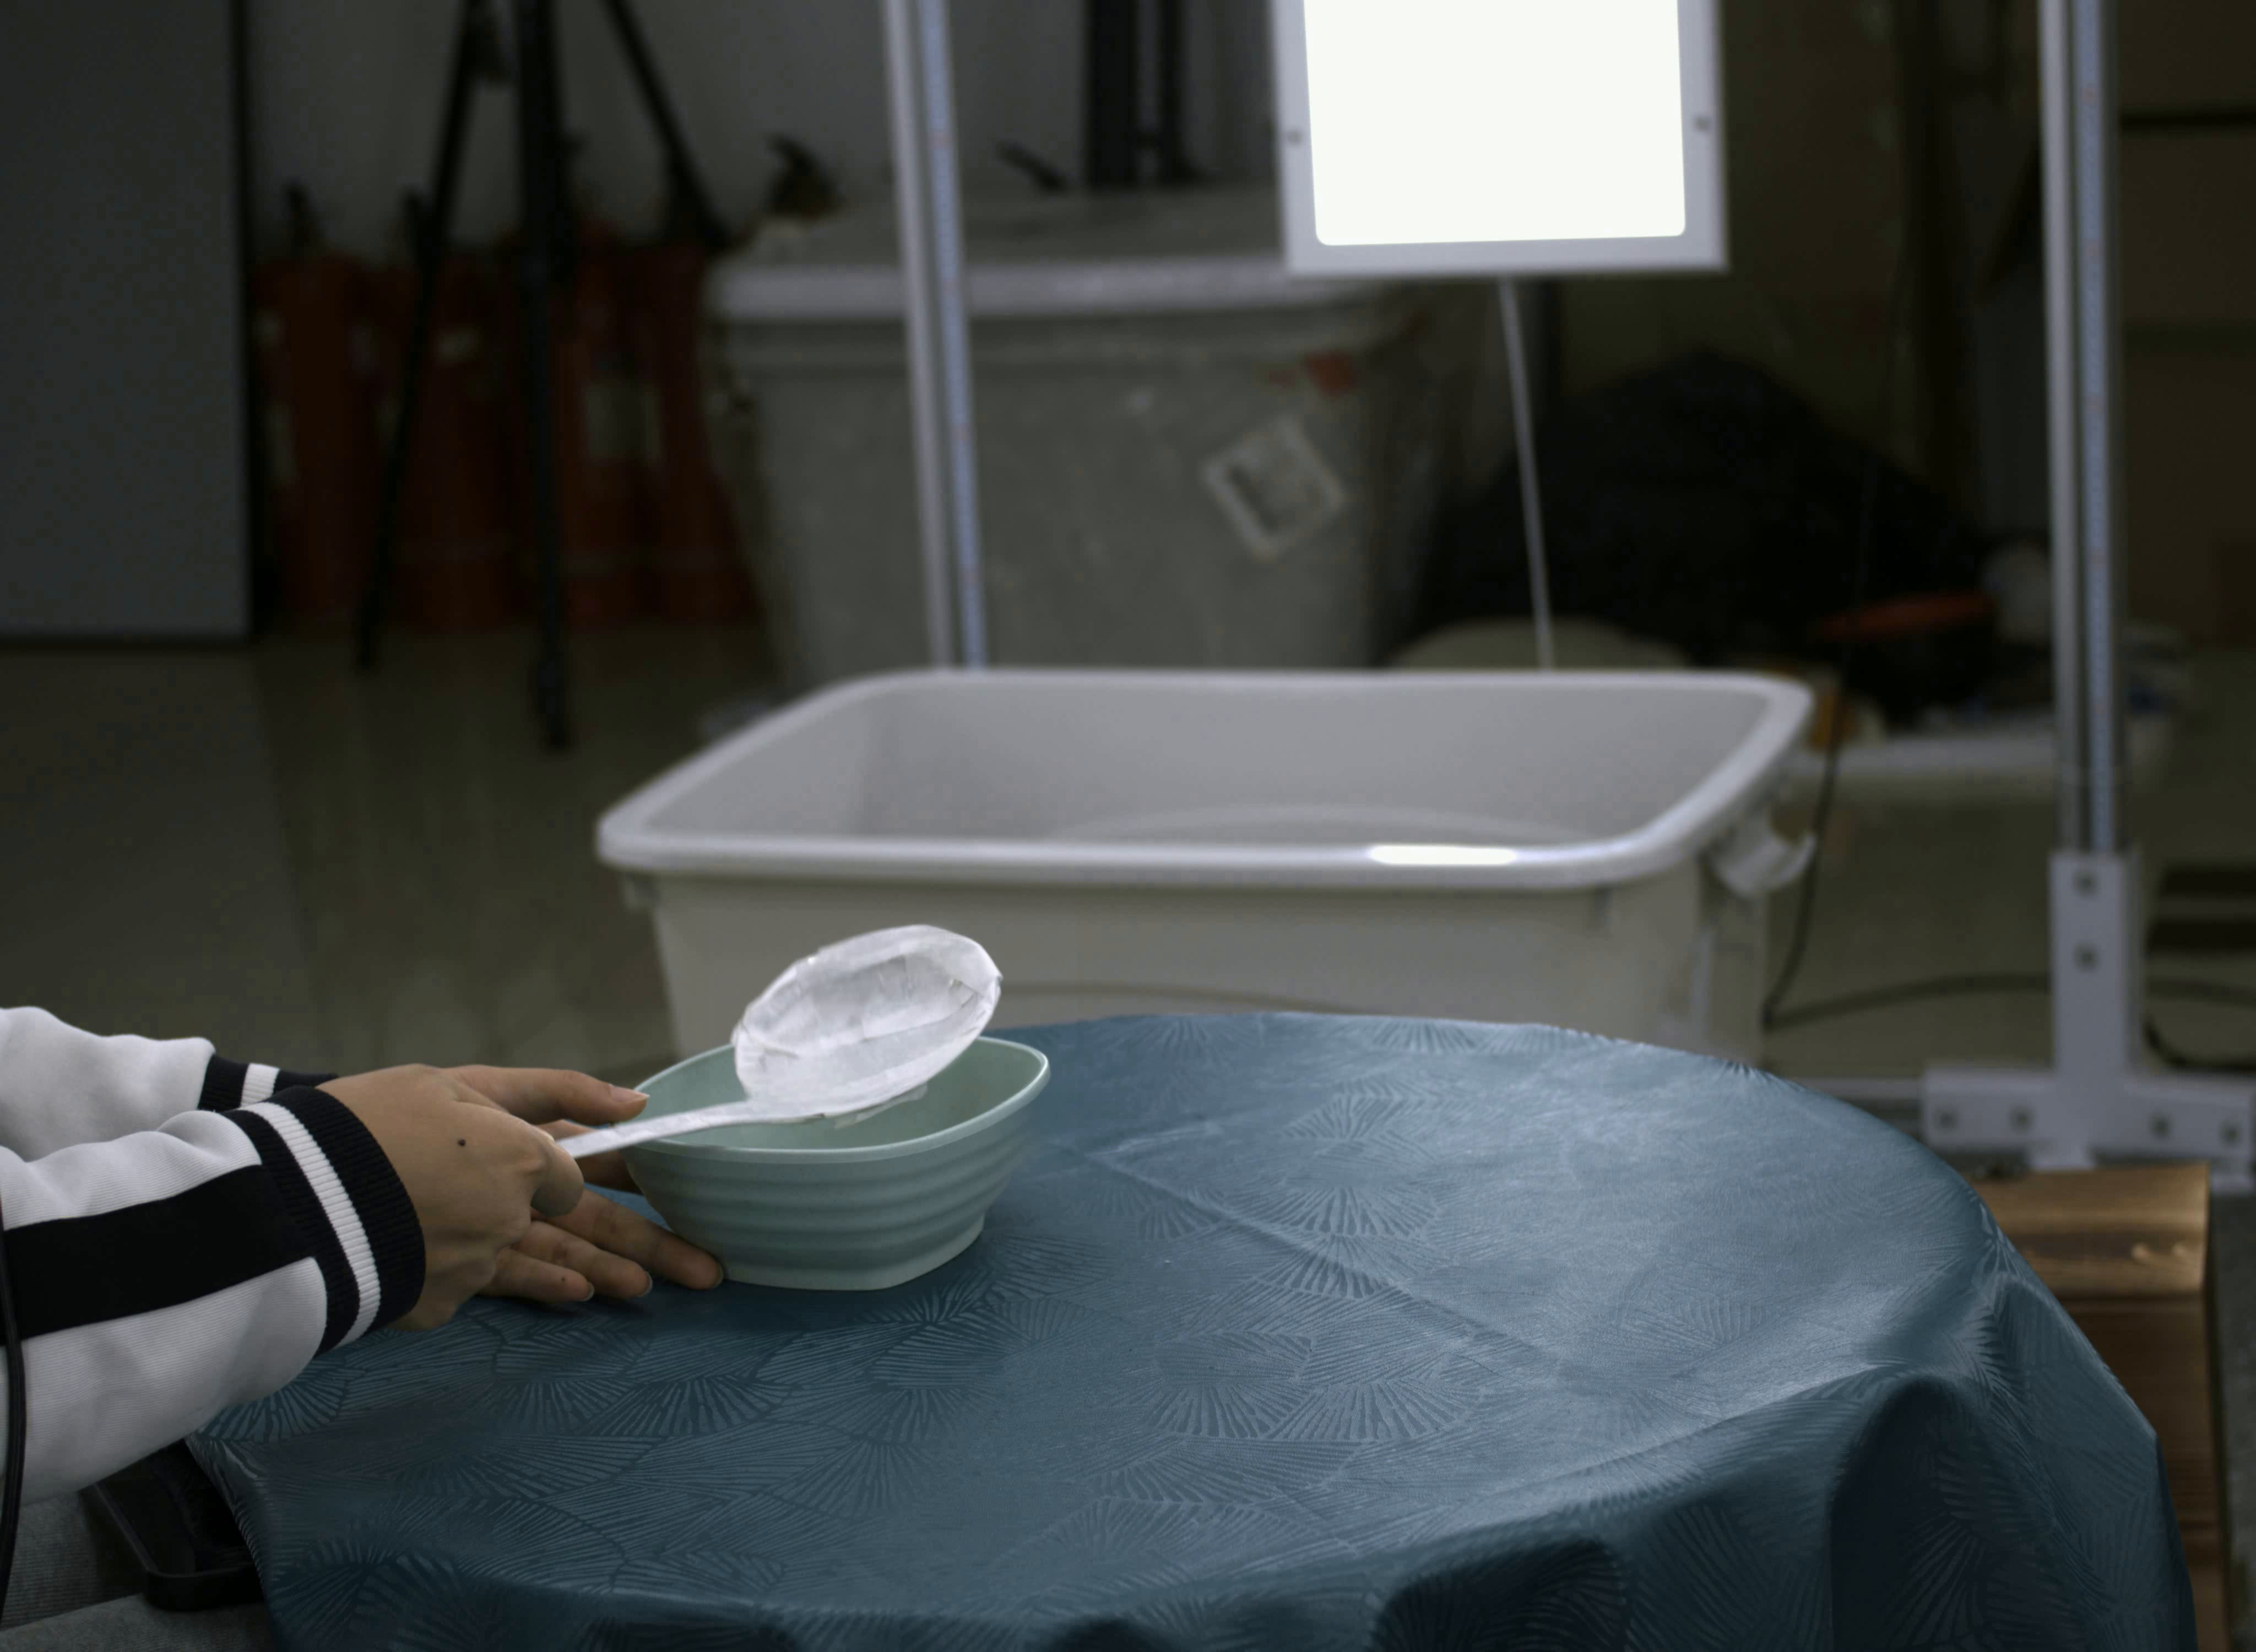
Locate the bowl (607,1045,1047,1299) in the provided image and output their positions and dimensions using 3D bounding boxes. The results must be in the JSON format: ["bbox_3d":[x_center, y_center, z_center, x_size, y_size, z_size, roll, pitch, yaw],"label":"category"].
[{"bbox_3d":[-0.099,0.118,1.858,0.151,0.059,0.151,-5,13,0],"label":"bowl"}]

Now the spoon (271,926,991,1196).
[{"bbox_3d":[-0.162,0.073,1.775,0.270,0.059,0.103,-6,11,-42],"label":"spoon"}]
